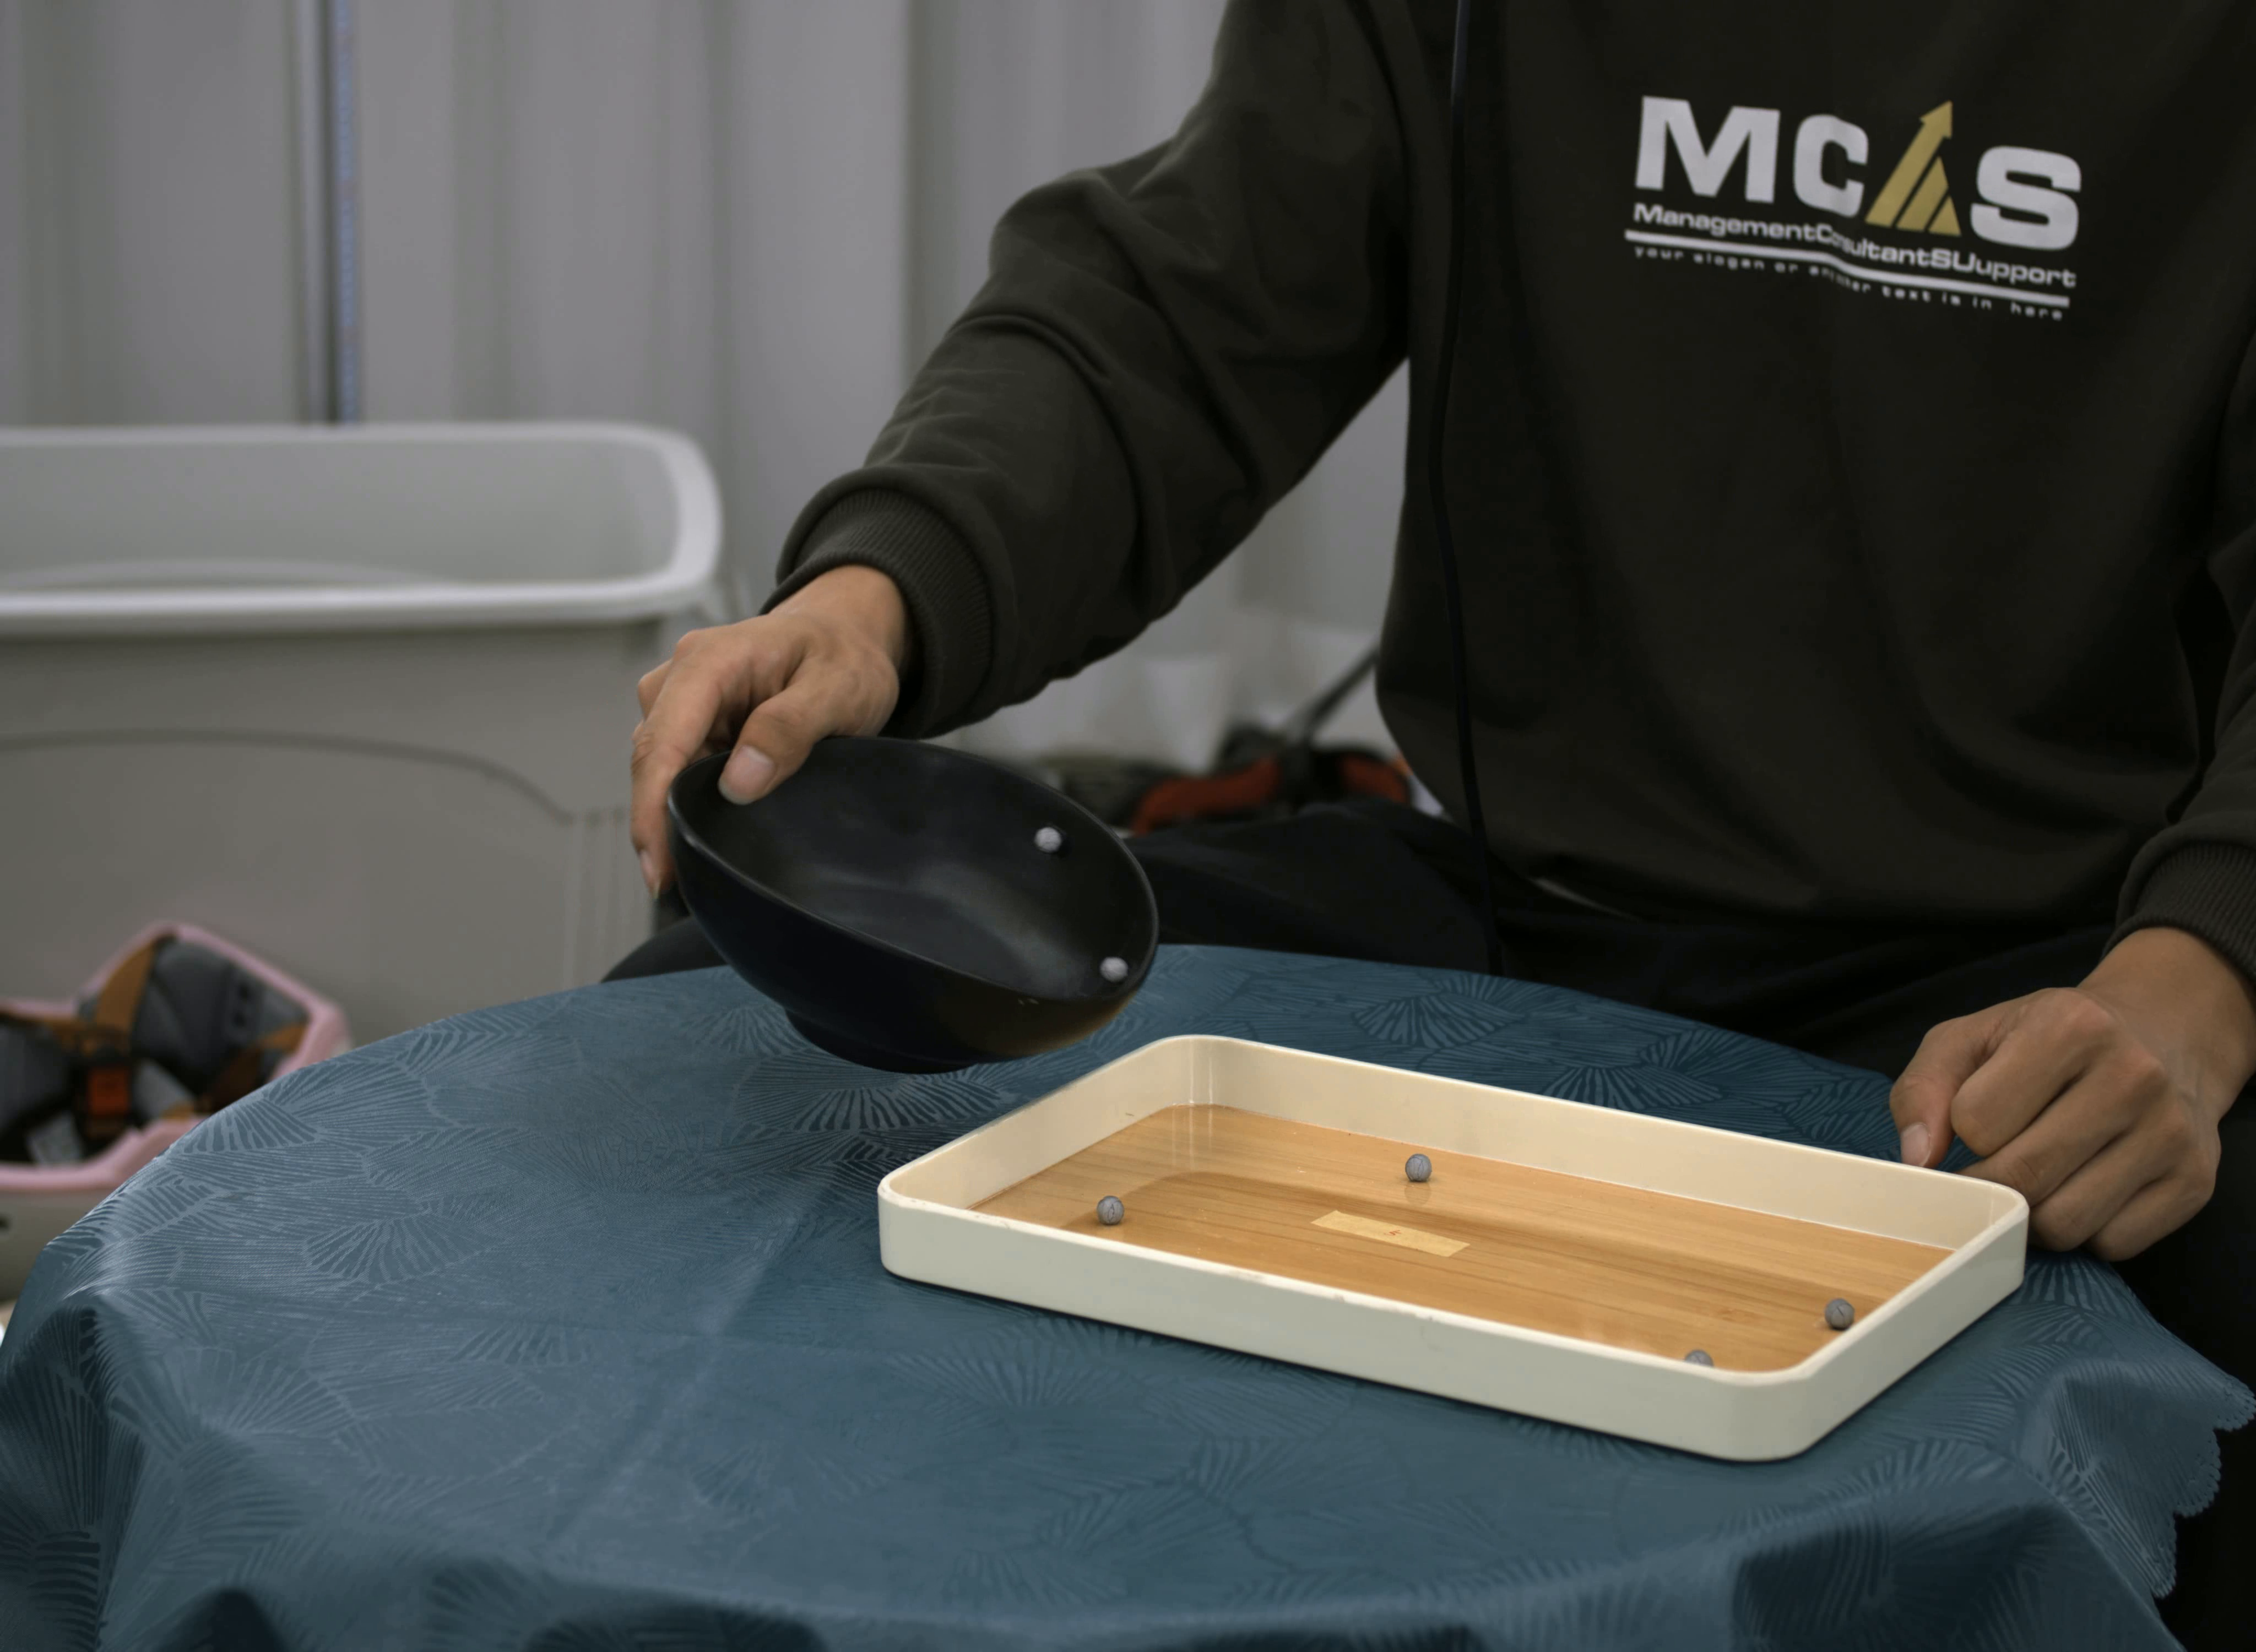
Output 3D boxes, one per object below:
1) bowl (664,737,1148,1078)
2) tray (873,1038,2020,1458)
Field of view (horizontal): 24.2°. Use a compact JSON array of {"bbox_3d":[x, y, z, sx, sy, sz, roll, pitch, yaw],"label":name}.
[{"bbox_3d":[-0.071,0.033,1.646,0.168,0.067,0.138,28,31,28],"label":"bowl"},{"bbox_3d":[0.094,0.120,1.559,0.297,0.027,0.192,9,17,29],"label":"tray"}]
